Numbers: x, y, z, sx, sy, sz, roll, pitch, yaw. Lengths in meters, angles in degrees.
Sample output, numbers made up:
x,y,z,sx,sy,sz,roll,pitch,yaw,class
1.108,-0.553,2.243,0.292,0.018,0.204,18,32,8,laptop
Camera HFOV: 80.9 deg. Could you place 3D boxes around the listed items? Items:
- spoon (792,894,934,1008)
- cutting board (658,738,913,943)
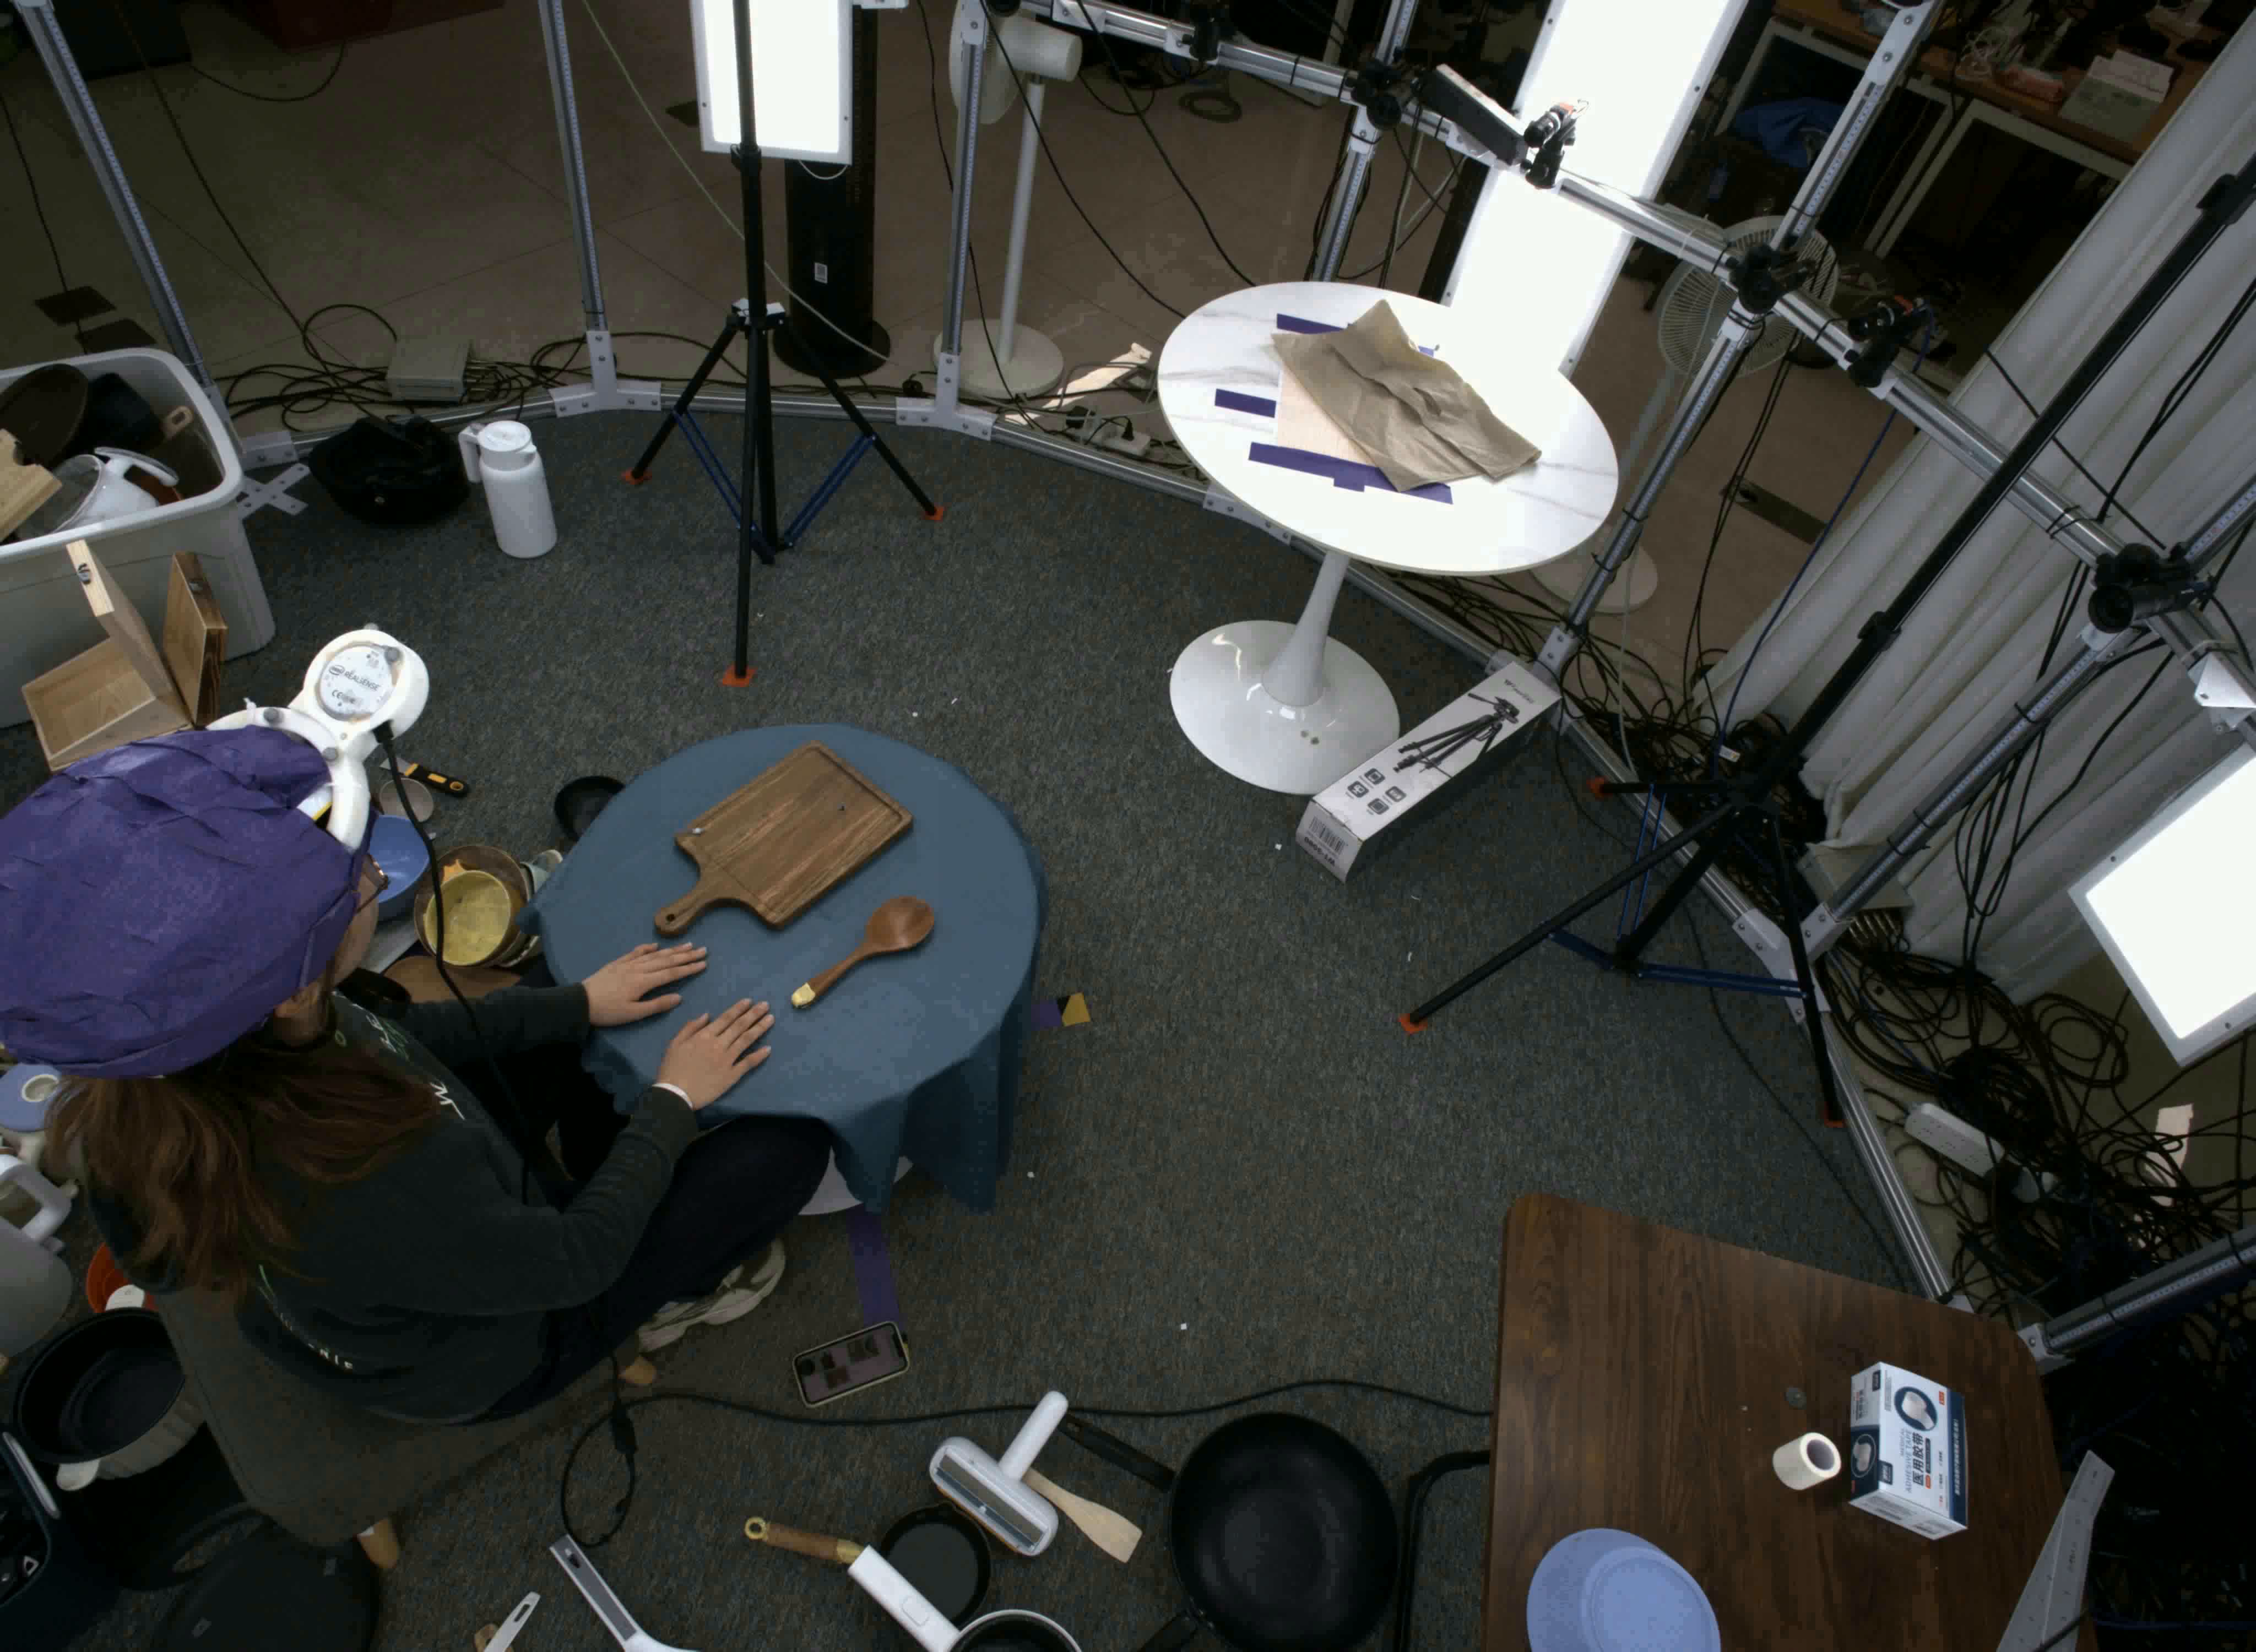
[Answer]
x,y,z,sx,sy,sz,roll,pitch,yaw,class
-0.332,0.156,1.625,0.074,0.017,0.216,41,54,15,spoon
-0.468,0.032,1.682,0.197,0.023,0.352,38,54,13,cutting board
